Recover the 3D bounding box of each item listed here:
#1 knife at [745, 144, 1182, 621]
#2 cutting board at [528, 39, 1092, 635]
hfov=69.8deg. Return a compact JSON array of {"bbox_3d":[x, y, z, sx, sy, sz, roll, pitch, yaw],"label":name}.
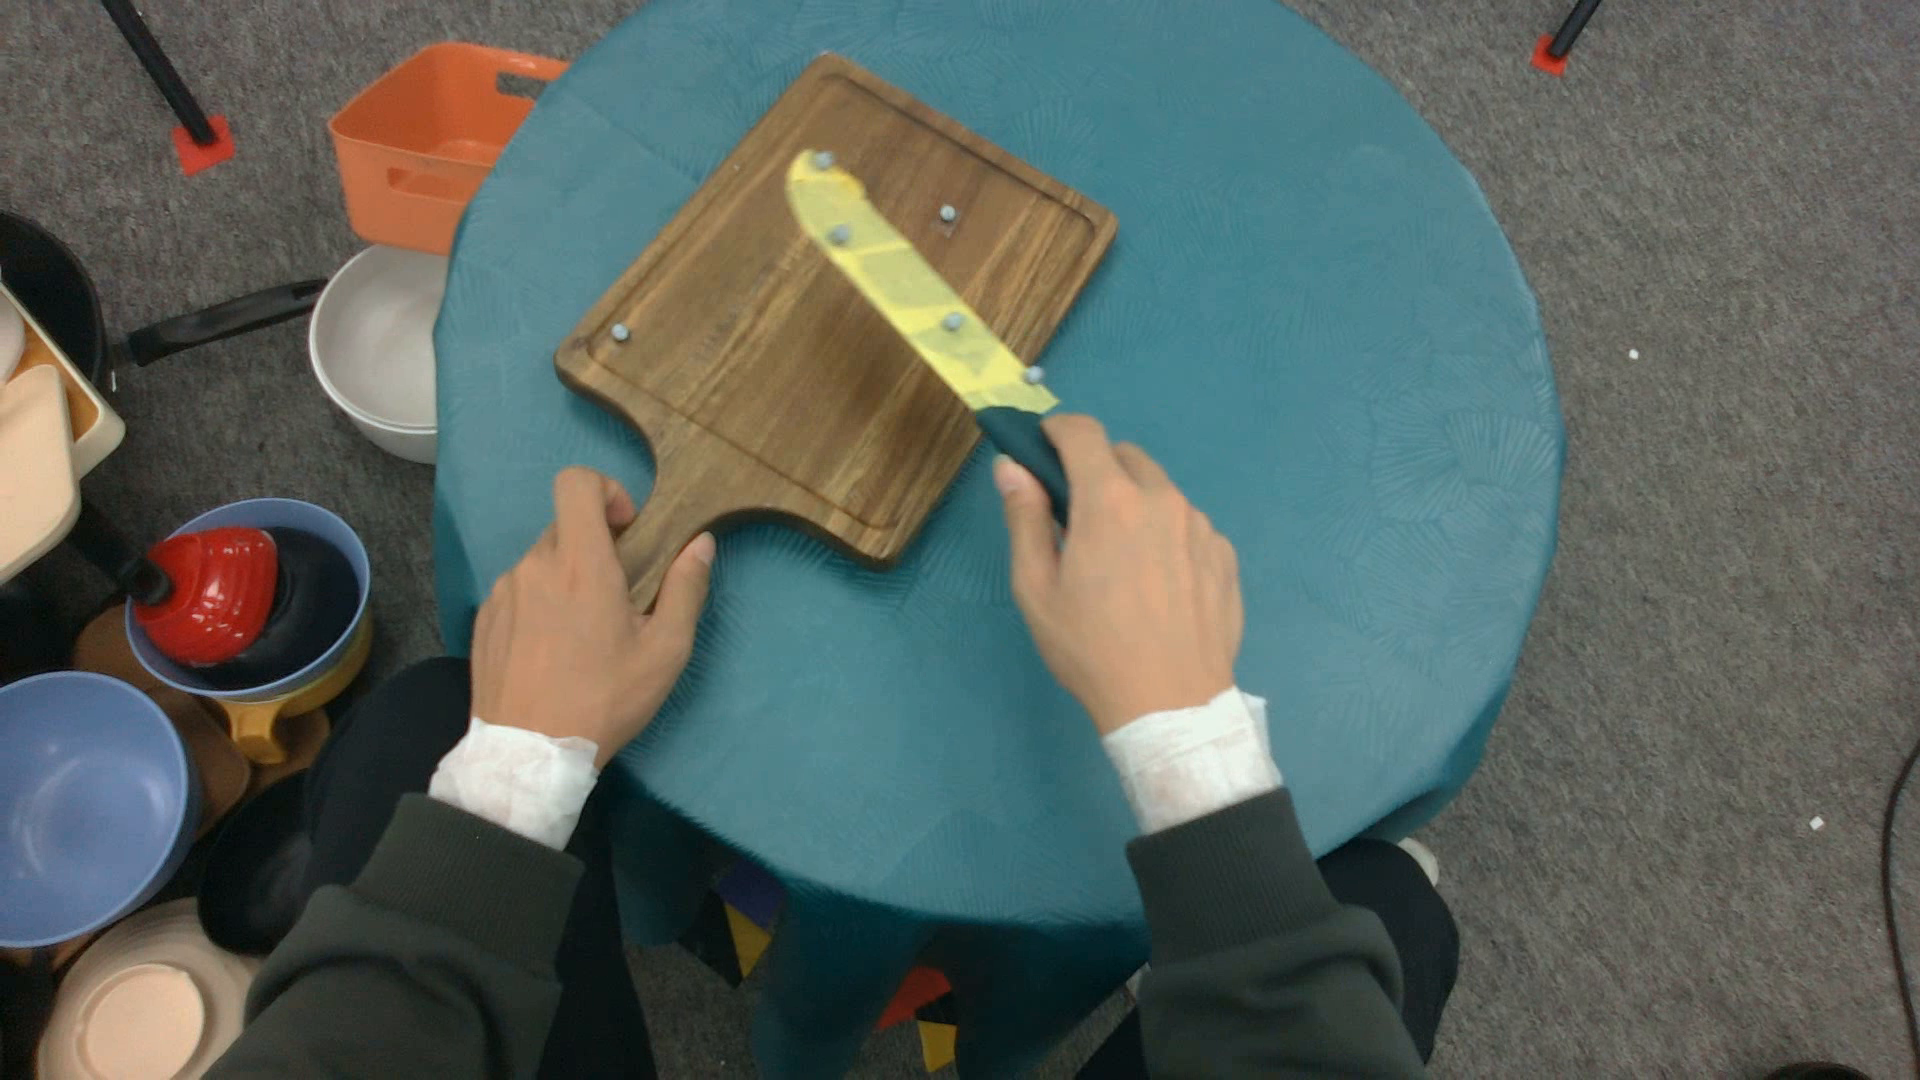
[{"bbox_3d":[0.000,-0.078,0.622,0.289,0.027,0.081,48,31,7],"label":"knife"},{"bbox_3d":[-0.093,-0.099,0.694,0.201,0.023,0.353,30,65,5],"label":"cutting board"}]
